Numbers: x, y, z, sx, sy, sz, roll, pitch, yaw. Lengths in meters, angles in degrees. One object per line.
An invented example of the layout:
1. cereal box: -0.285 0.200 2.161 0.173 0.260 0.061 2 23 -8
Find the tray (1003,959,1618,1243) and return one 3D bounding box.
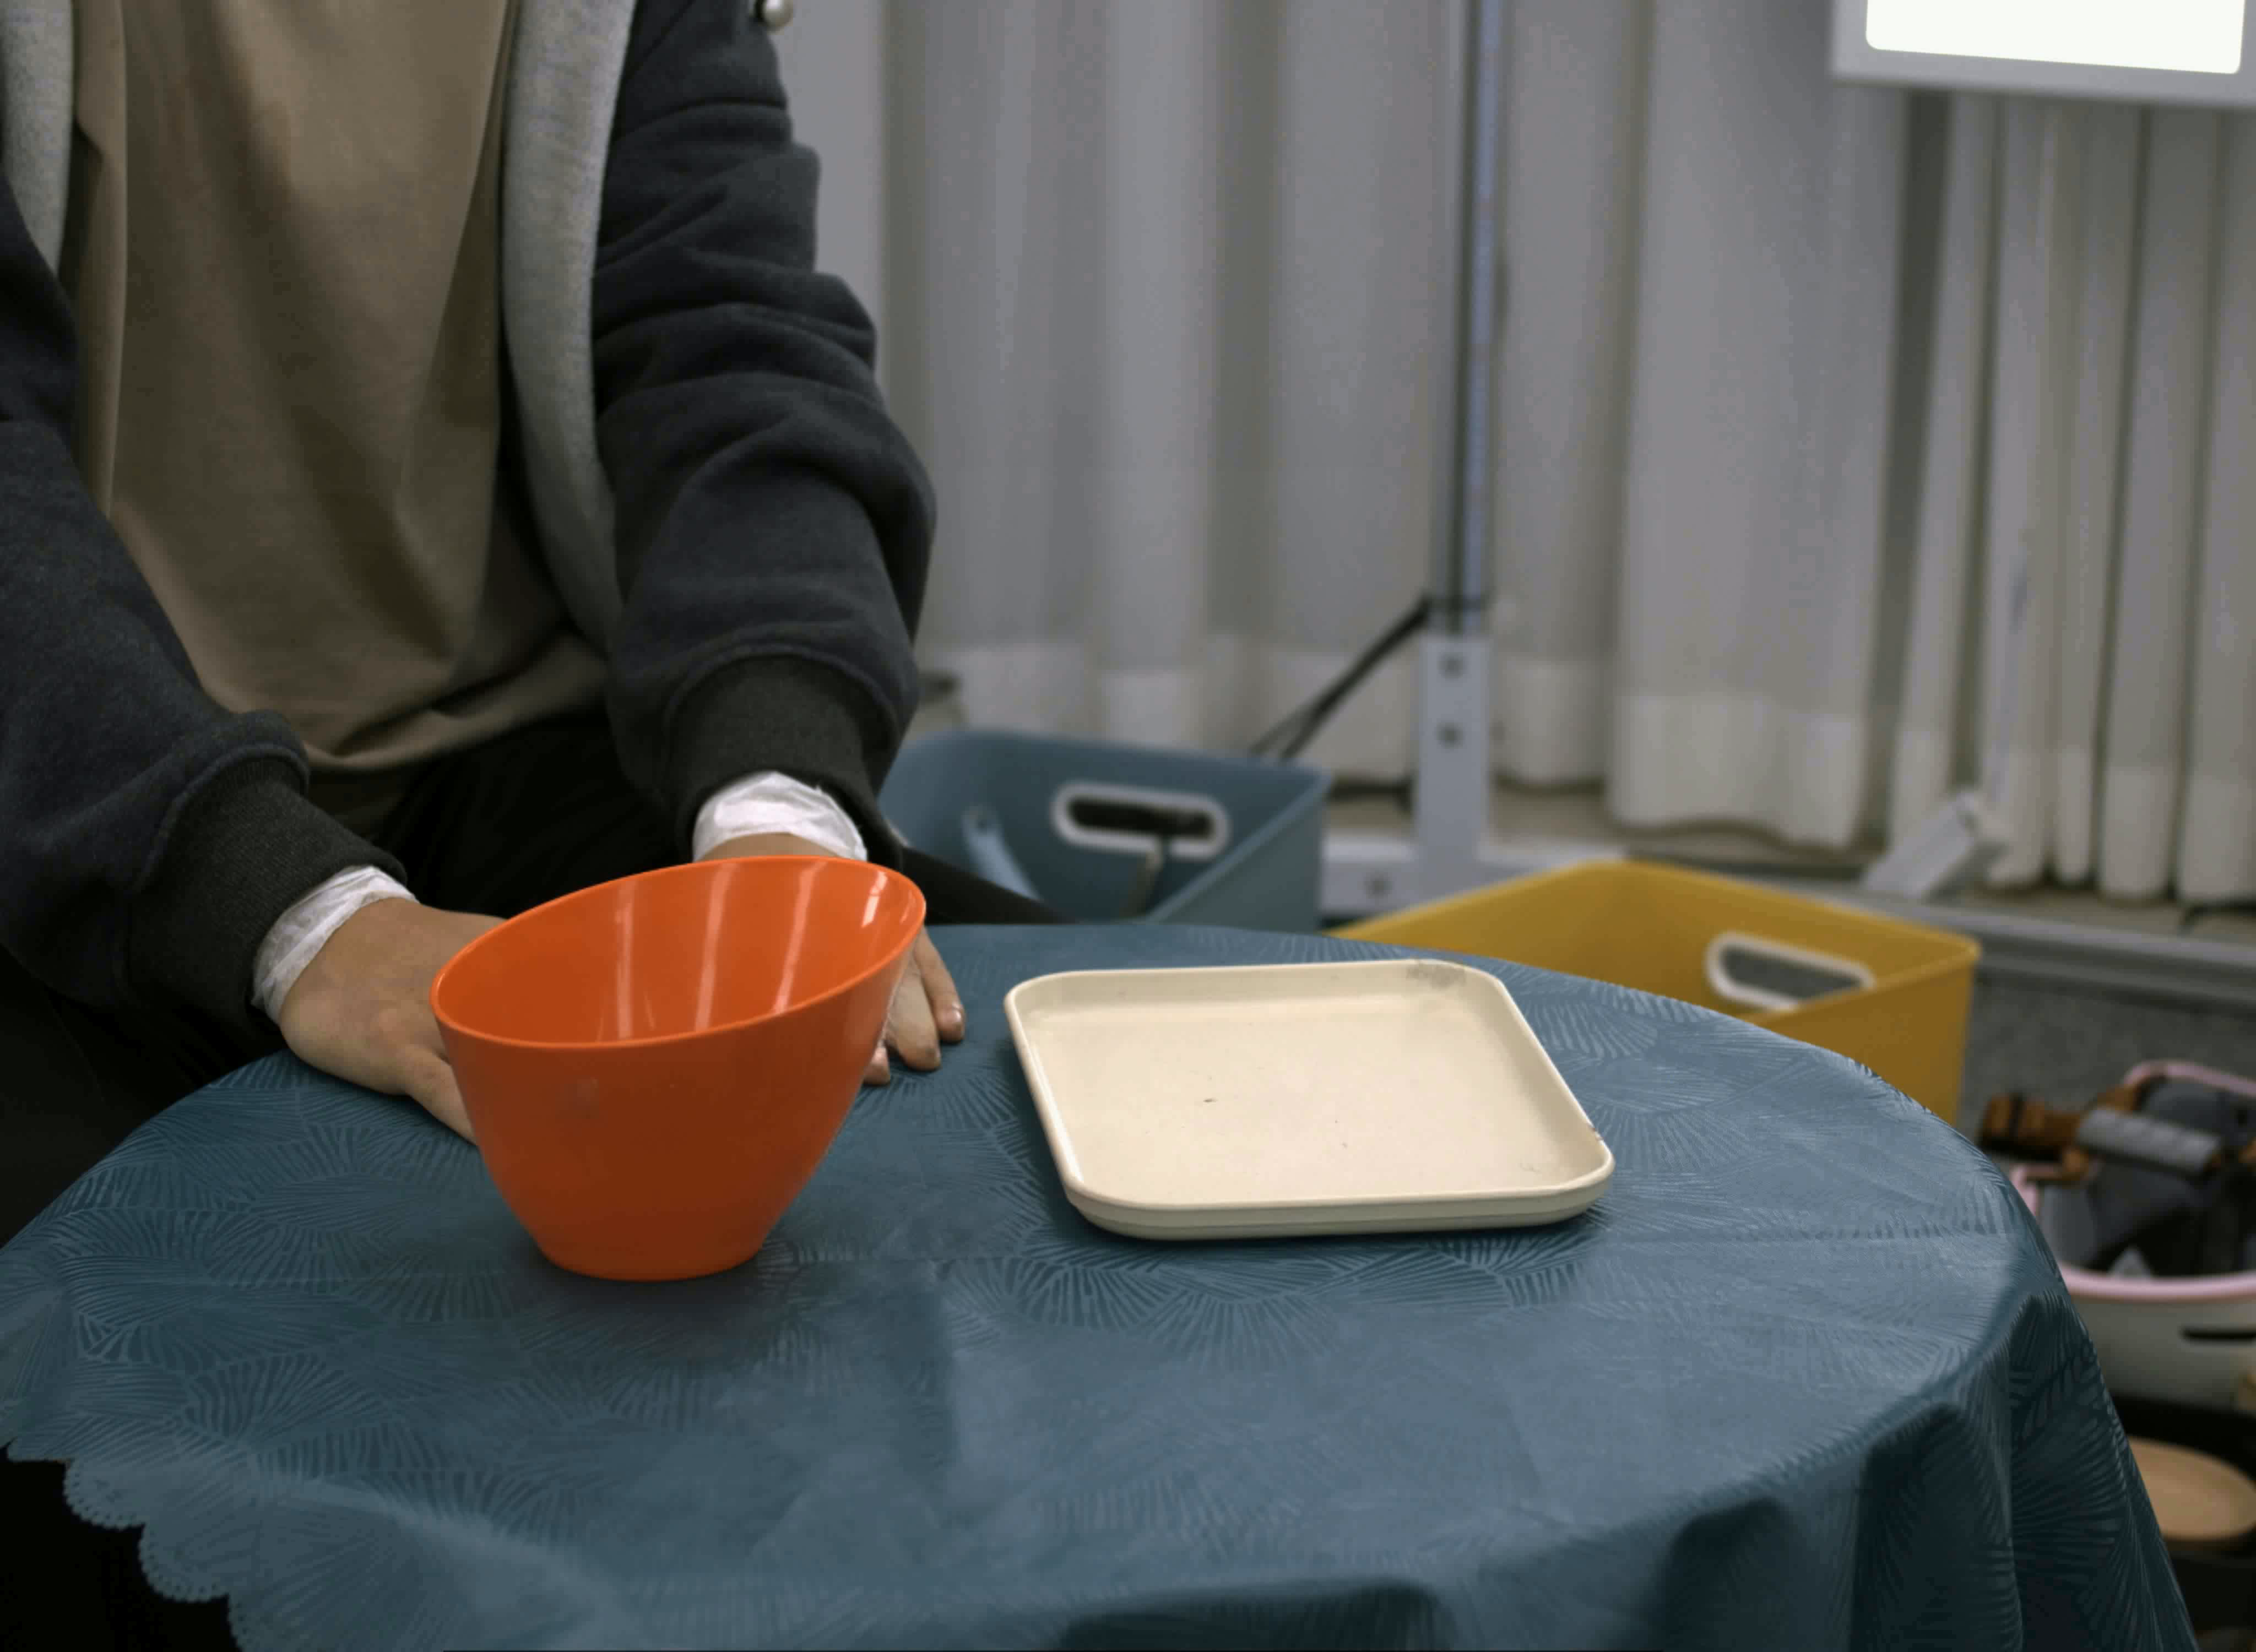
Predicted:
1. tray: 0.054 0.087 1.685 0.171 0.017 0.238 -2 16 -7

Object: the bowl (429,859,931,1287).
1. bowl: -0.132 0.076 1.561 0.147 0.105 0.147 2 17 0
